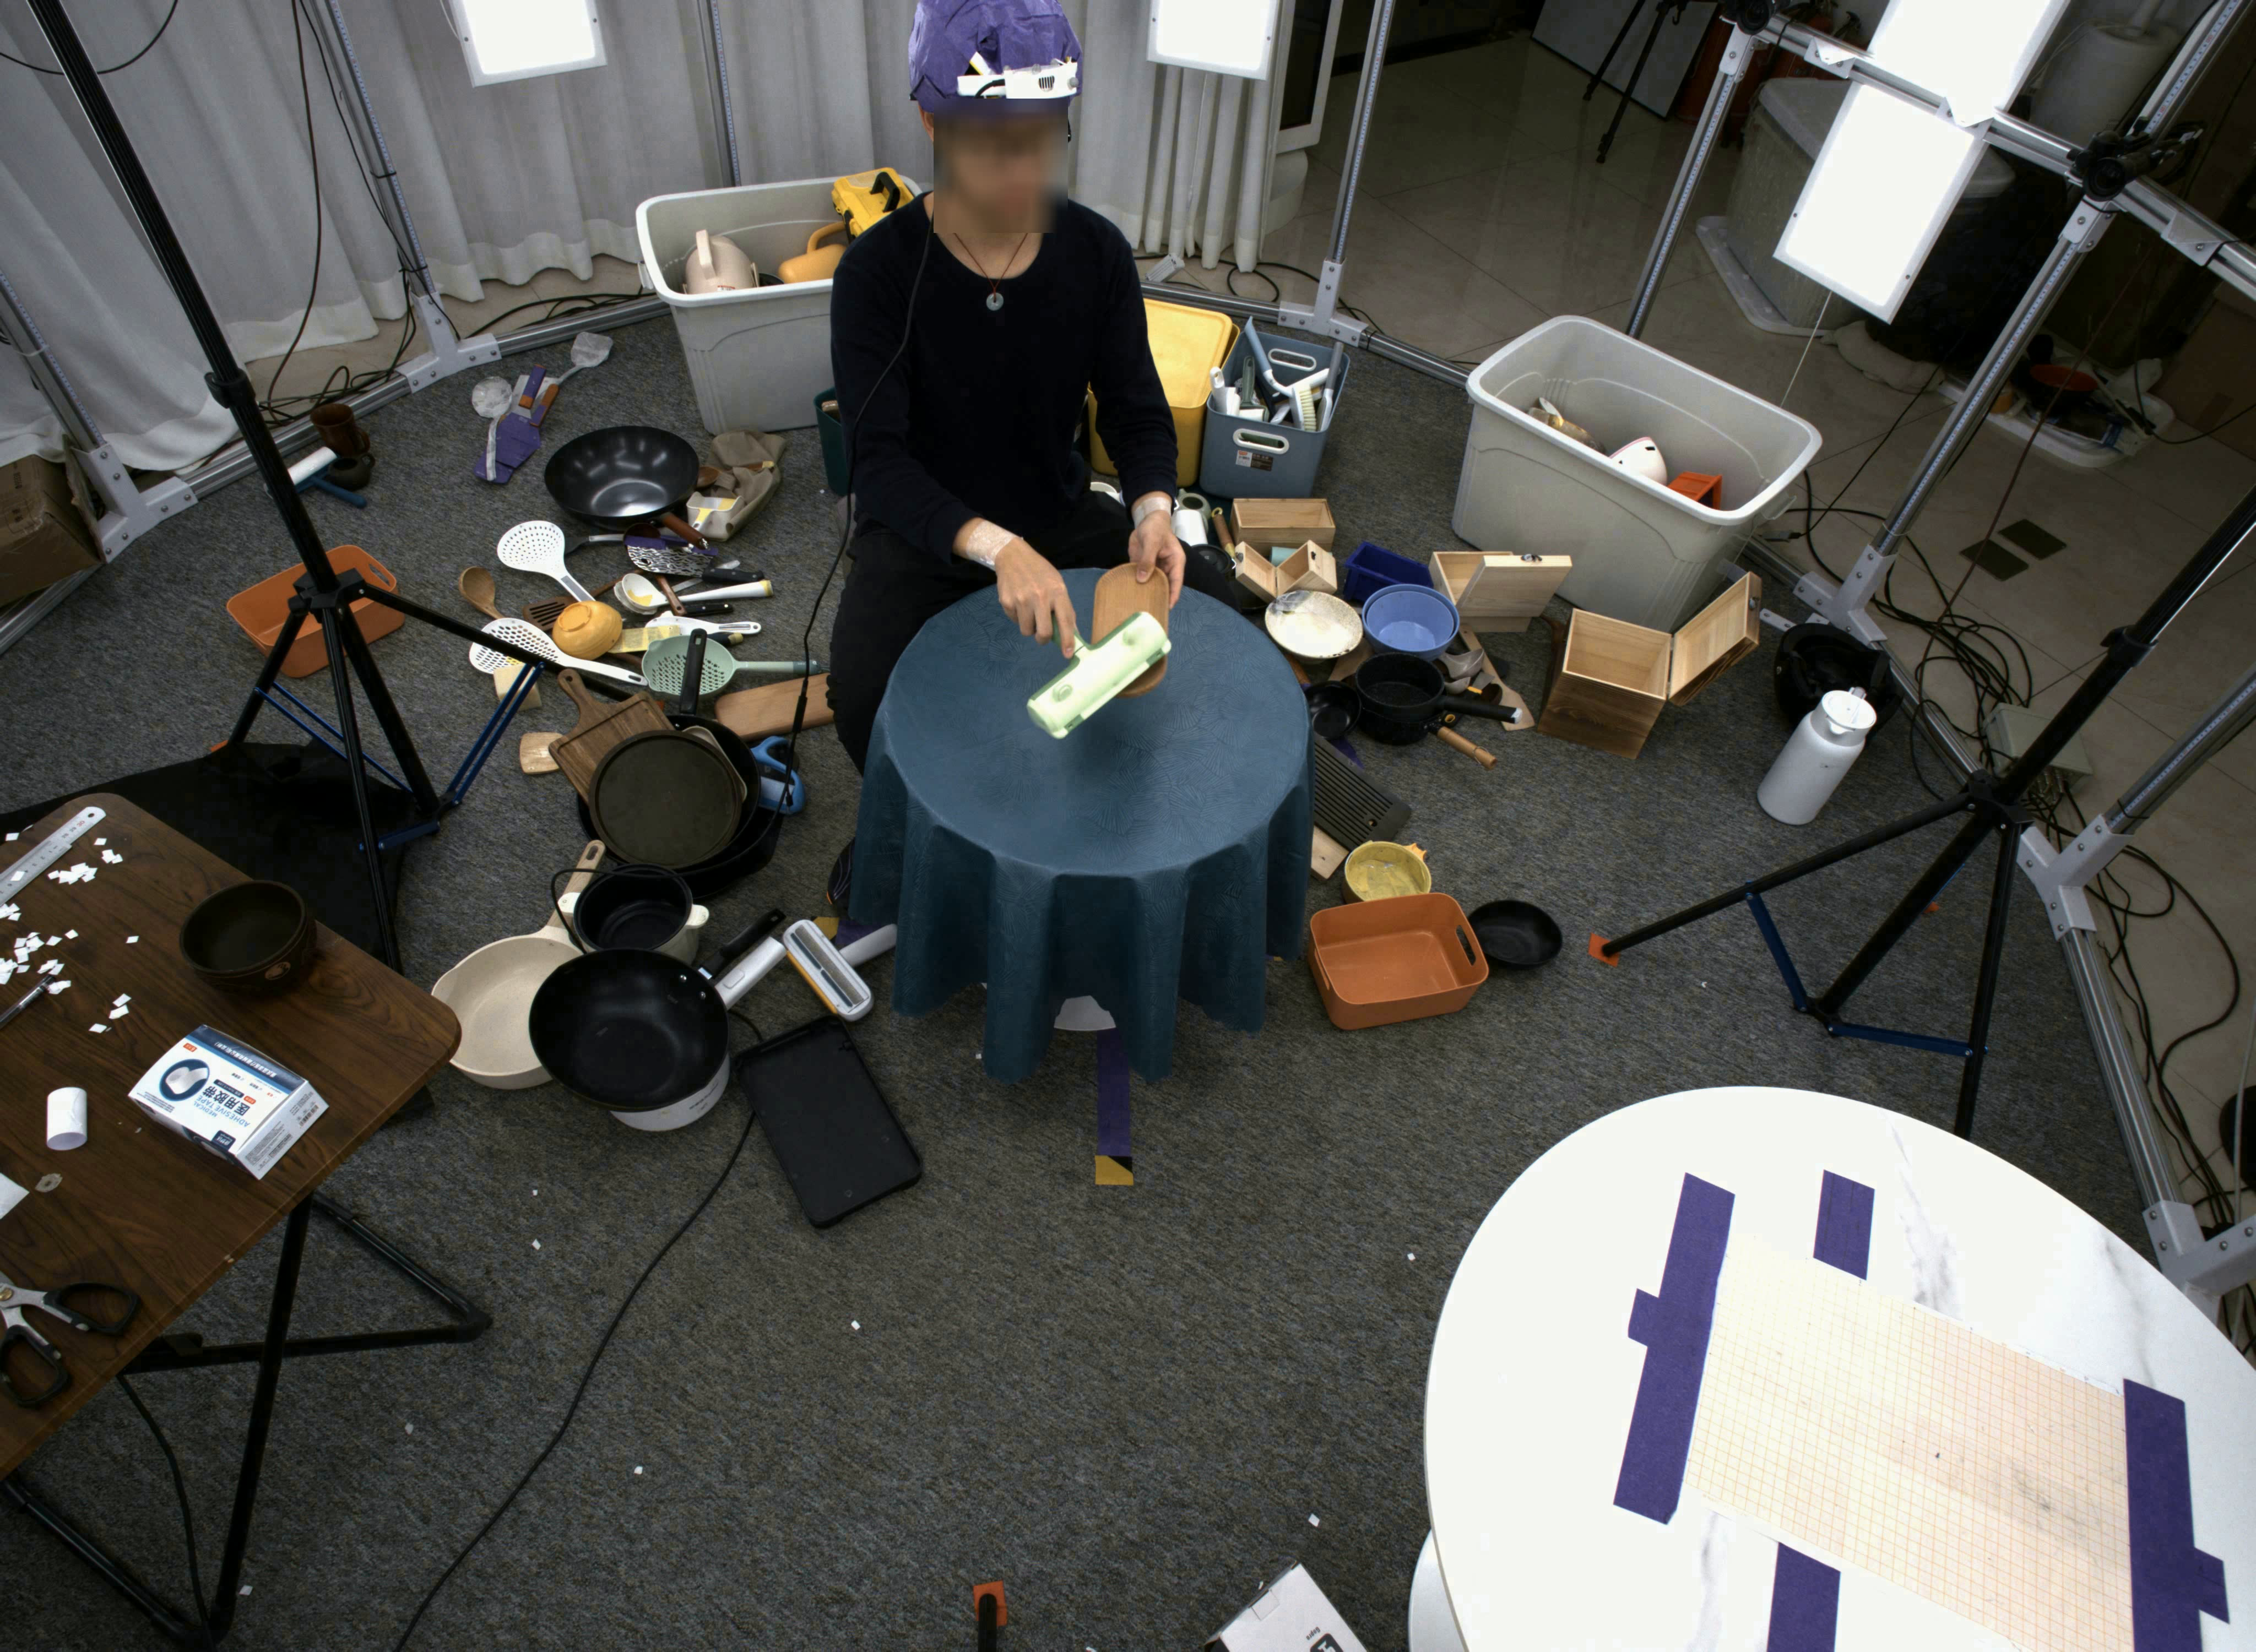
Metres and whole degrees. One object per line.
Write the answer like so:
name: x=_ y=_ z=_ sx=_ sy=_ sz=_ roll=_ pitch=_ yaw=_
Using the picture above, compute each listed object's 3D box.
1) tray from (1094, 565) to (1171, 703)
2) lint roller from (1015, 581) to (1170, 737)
tray: x=0.006 y=-0.253 z=1.680 sx=0.102 sy=0.020 sz=0.236 roll=-4 pitch=56 yaw=9
lint roller: x=-0.073 y=-0.238 z=1.596 sx=0.199 sy=0.082 sz=0.183 roll=-41 pitch=95 yaw=-13
